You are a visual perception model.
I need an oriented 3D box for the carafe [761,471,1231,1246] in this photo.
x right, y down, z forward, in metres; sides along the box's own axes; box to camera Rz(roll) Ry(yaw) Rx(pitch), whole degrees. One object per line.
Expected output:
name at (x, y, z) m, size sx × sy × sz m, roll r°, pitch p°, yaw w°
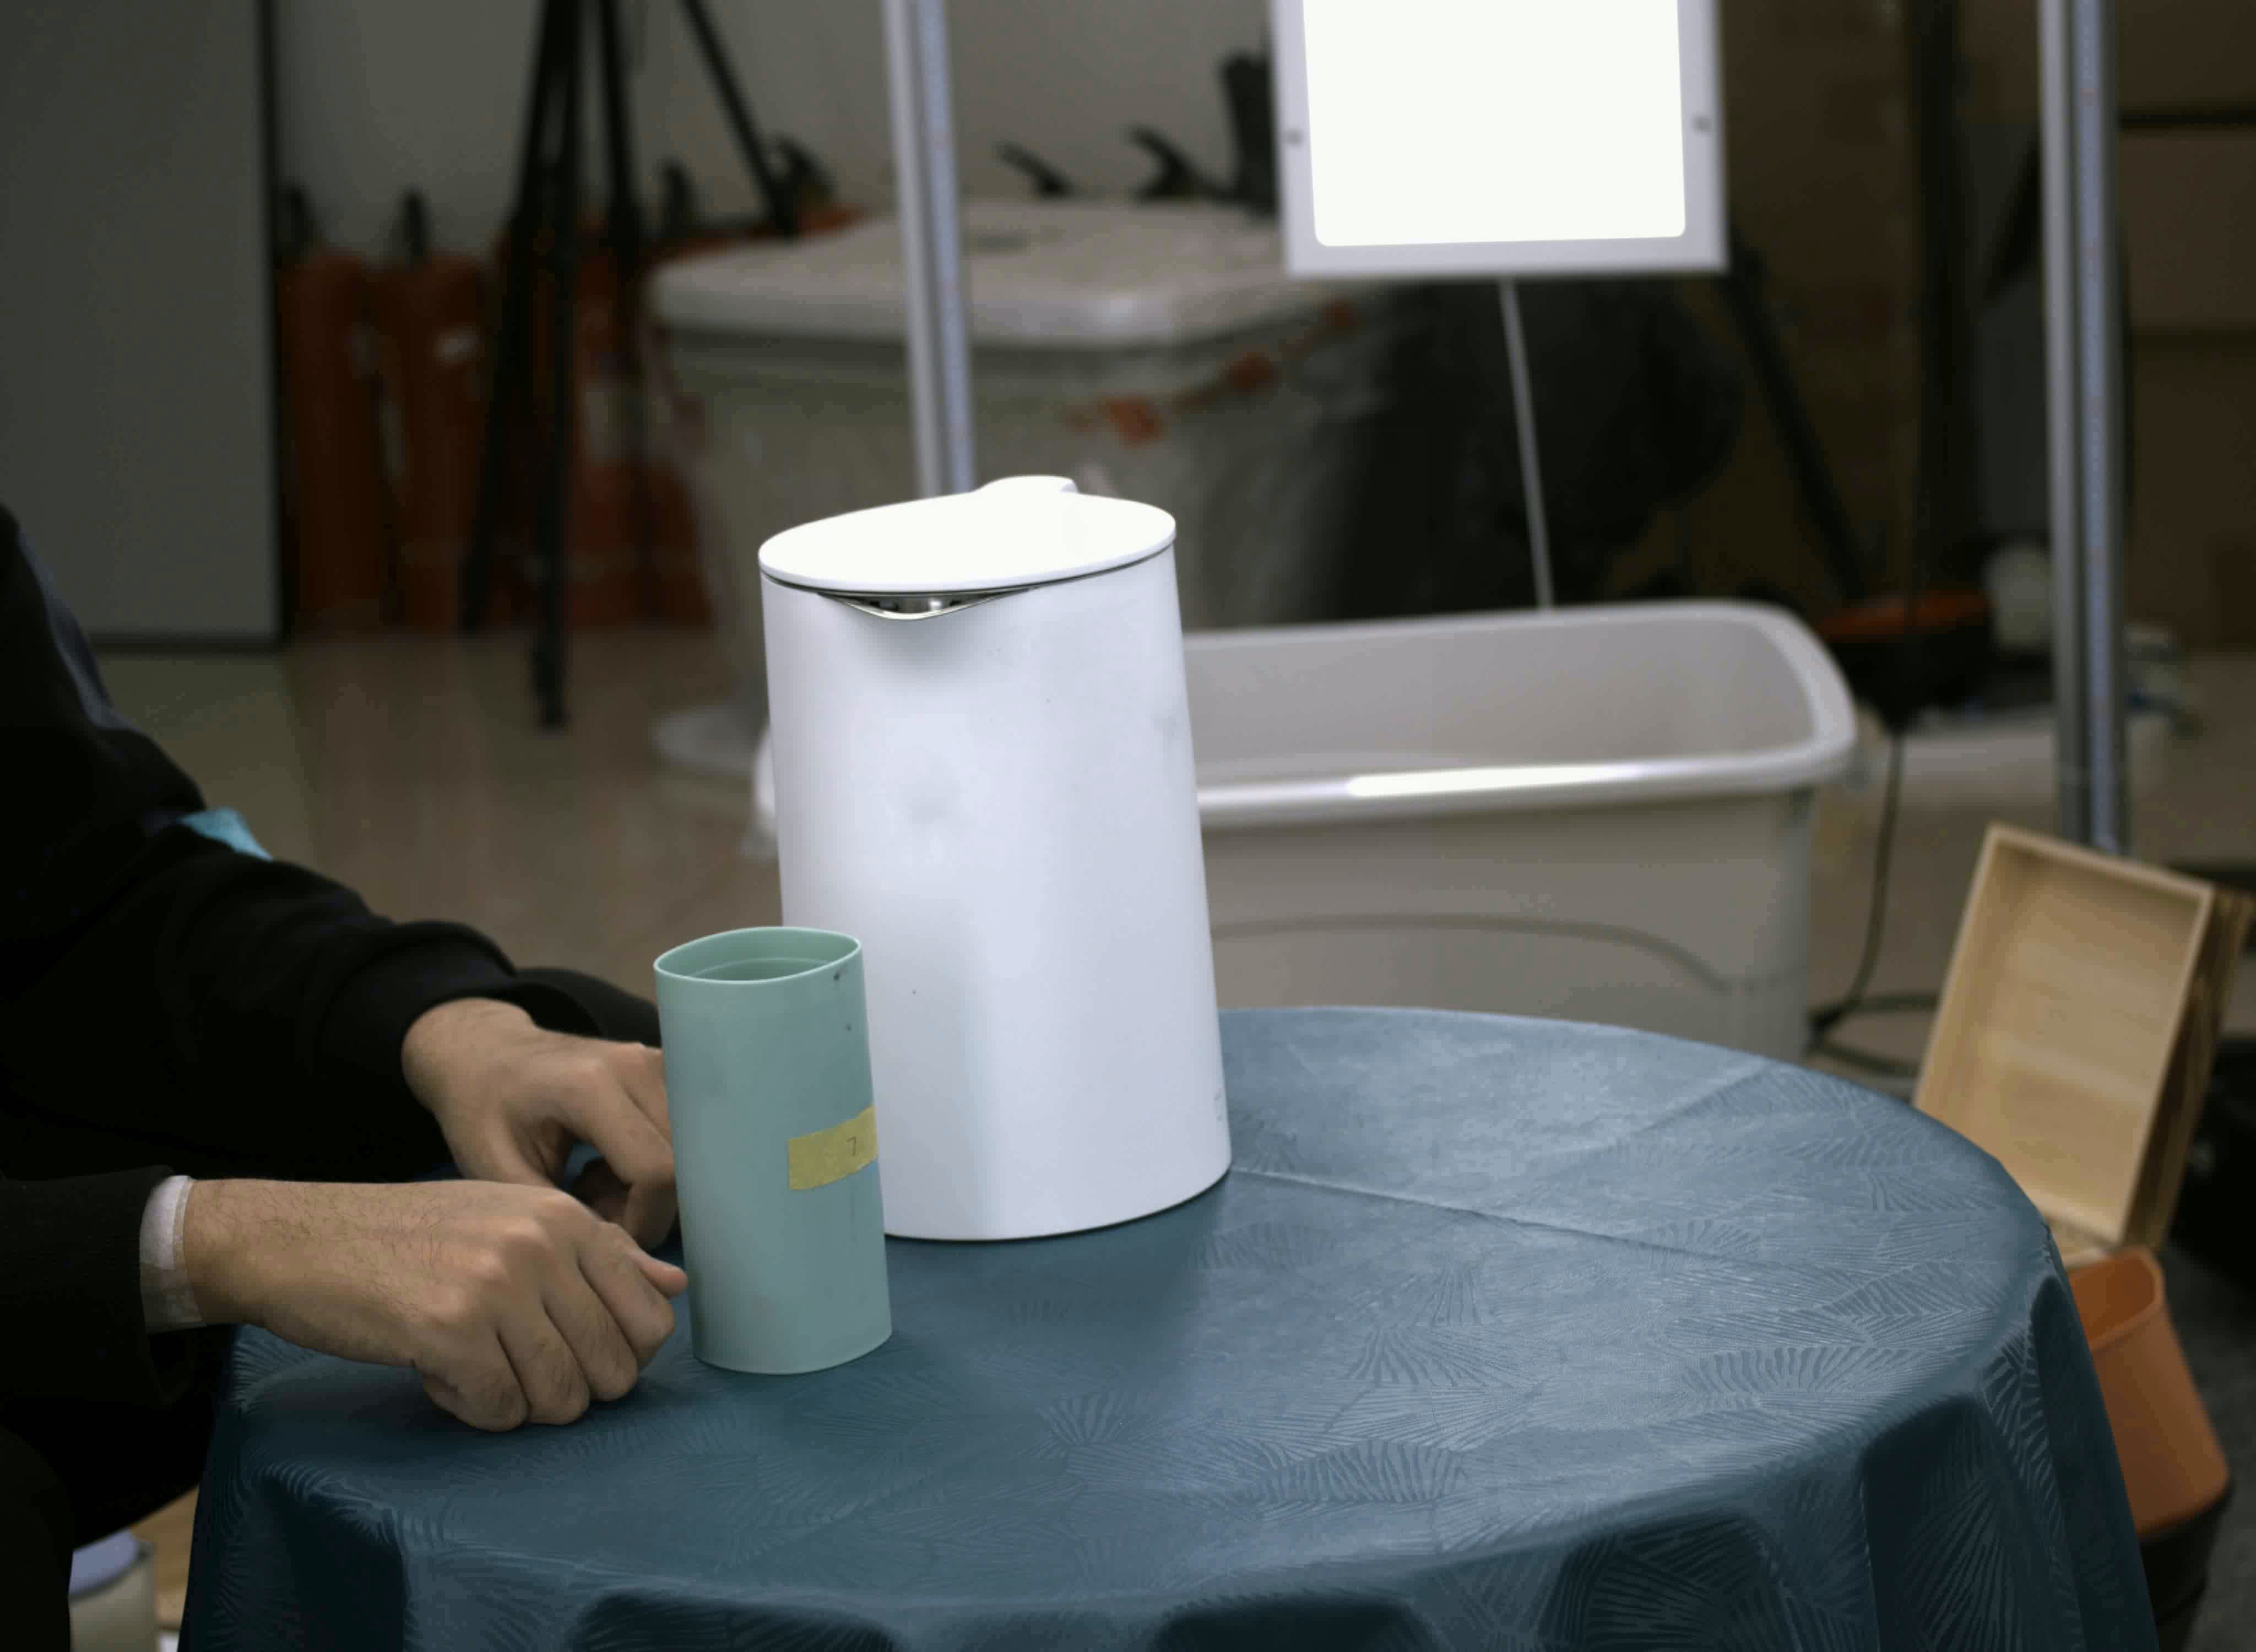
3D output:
carafe at (-0.040, 0.005, 1.919) m, size 0.153 × 0.241 × 0.210 m, roll 0°, pitch 15°, yaw 14°

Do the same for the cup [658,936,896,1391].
cup at (-0.112, 0.106, 1.756) m, size 0.066 × 0.133 × 0.066 m, roll -4°, pitch 15°, yaw 0°
